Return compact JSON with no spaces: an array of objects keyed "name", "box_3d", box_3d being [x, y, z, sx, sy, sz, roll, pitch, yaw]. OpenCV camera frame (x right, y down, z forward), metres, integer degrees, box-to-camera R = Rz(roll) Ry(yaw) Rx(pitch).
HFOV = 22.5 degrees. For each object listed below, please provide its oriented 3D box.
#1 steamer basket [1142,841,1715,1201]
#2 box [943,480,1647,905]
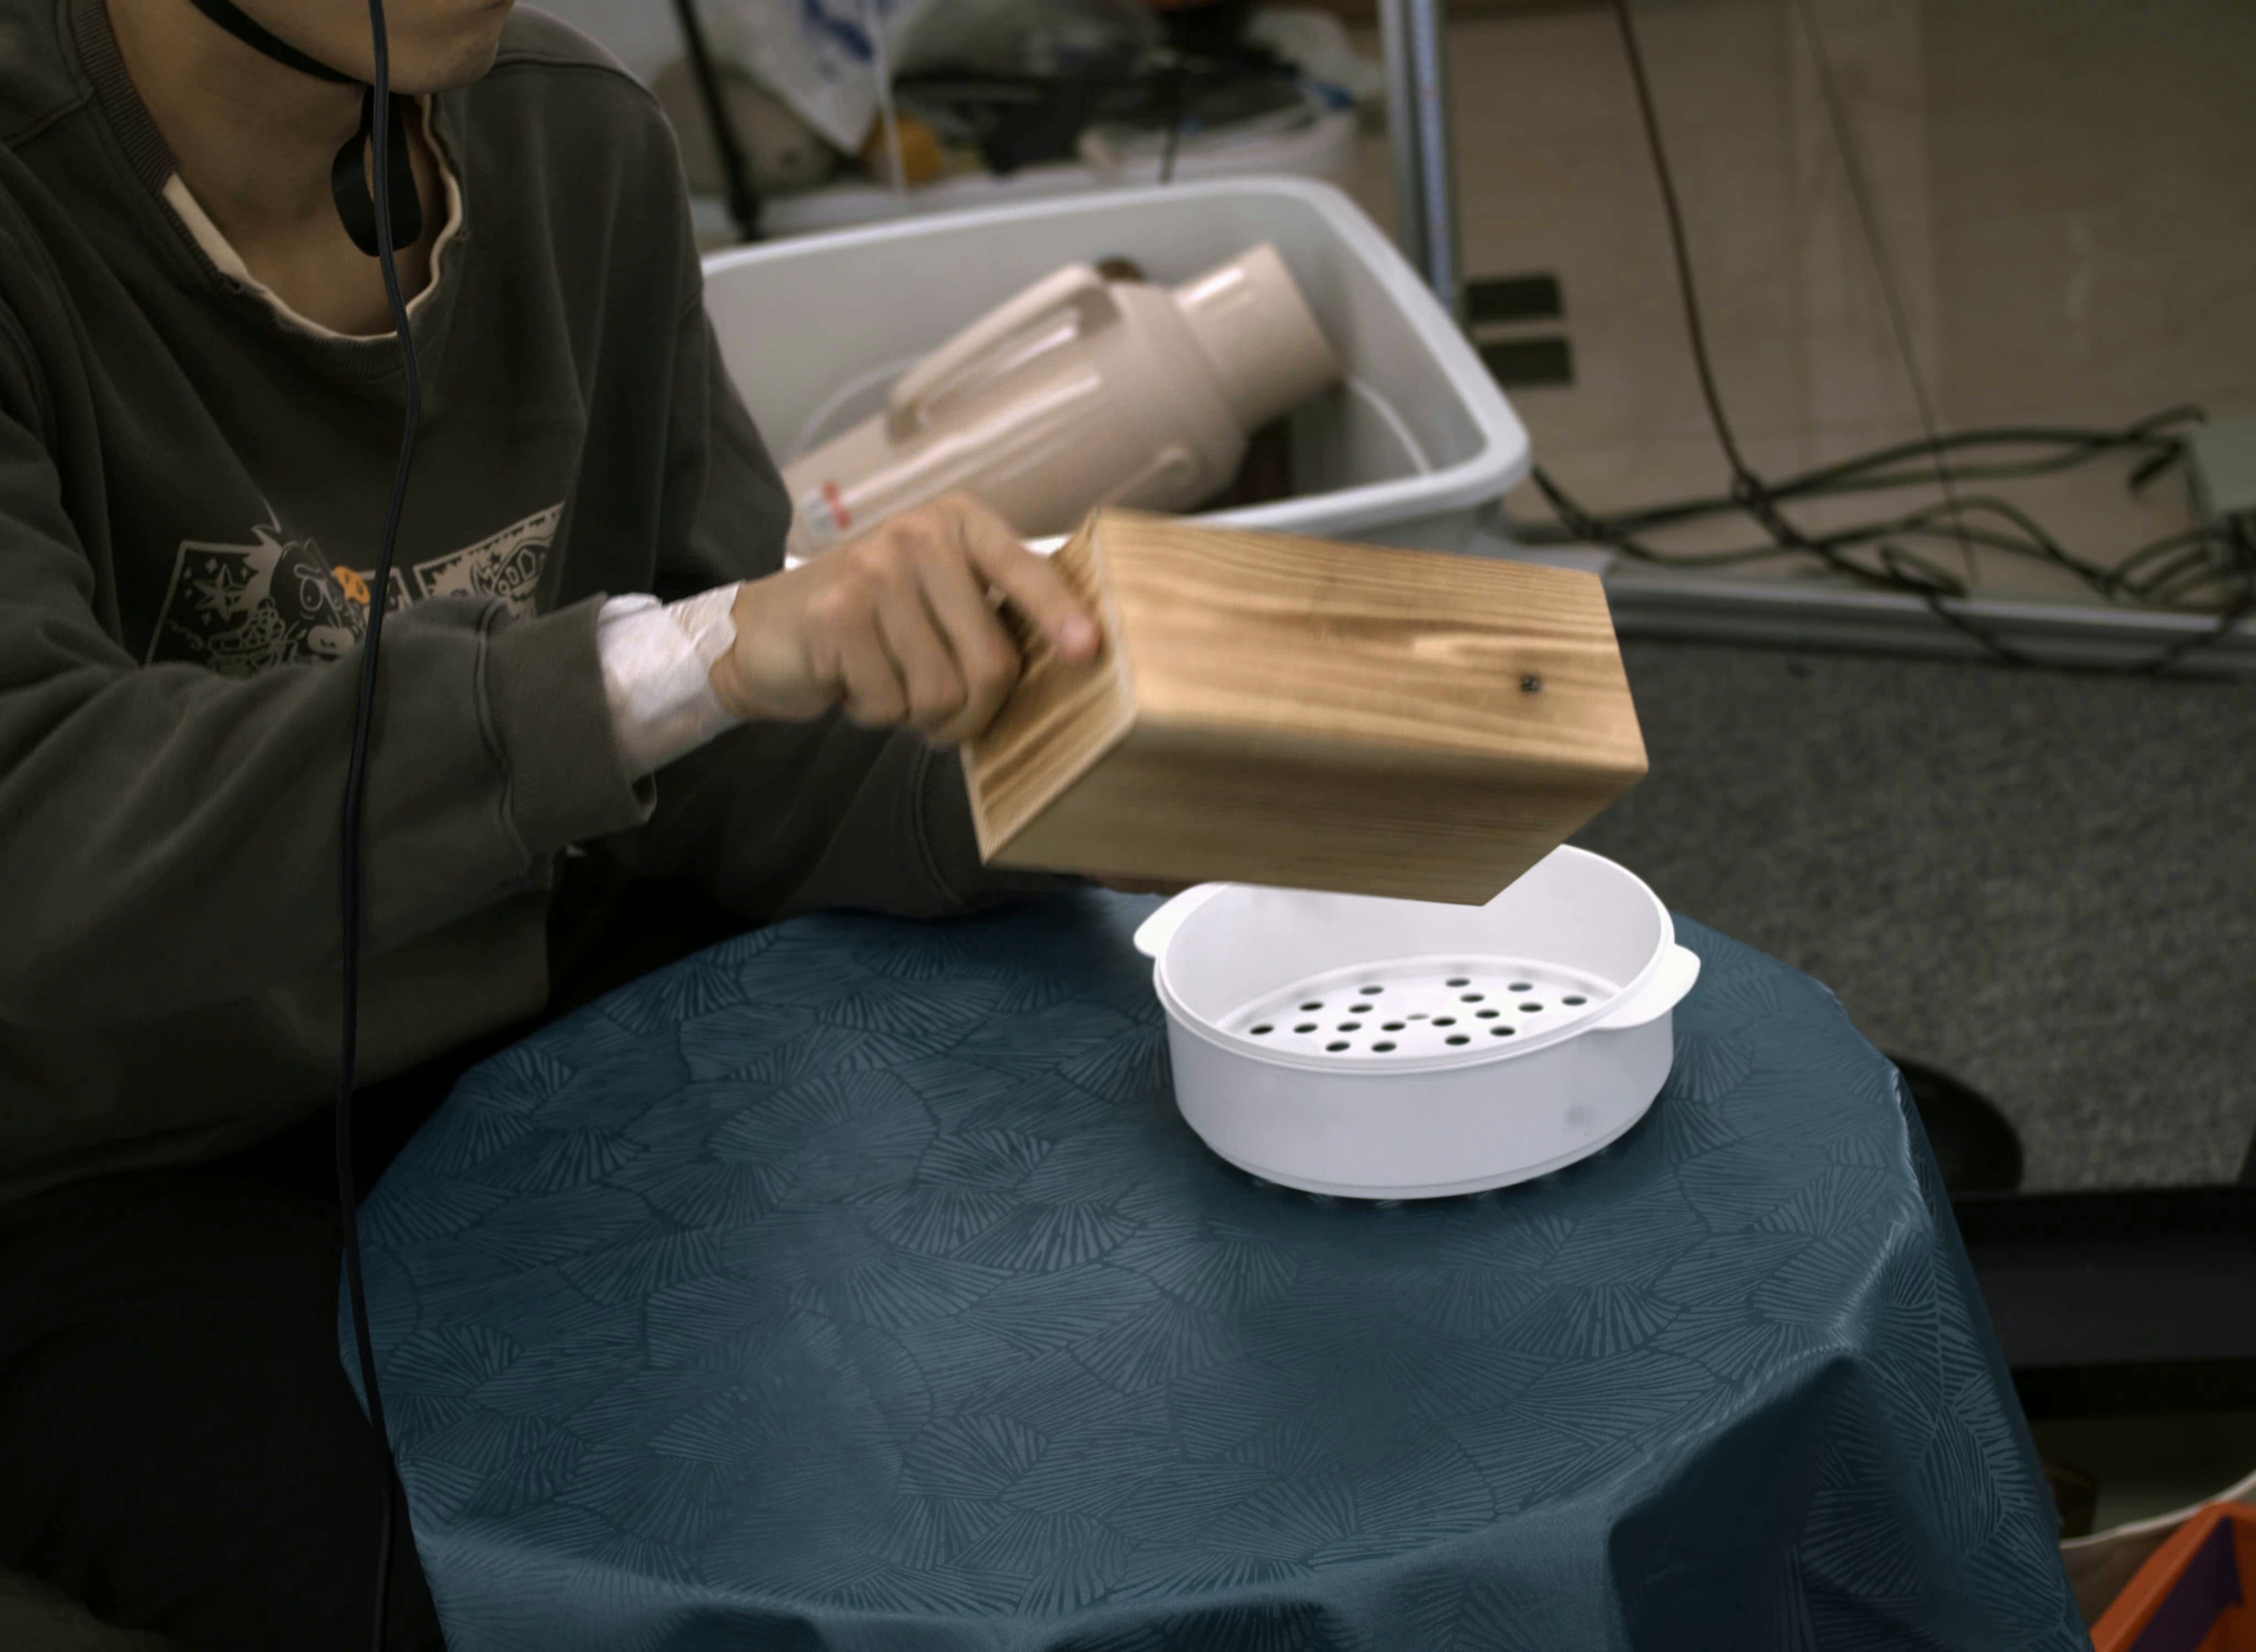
[{"name":"steamer basket","box_3d":[0.116,0.074,2.176,0.229,0.070,0.199,8,28,31]},{"name":"box","box_3d":[0.058,-0.044,1.955,0.212,0.109,0.079,8,56,-33]}]
